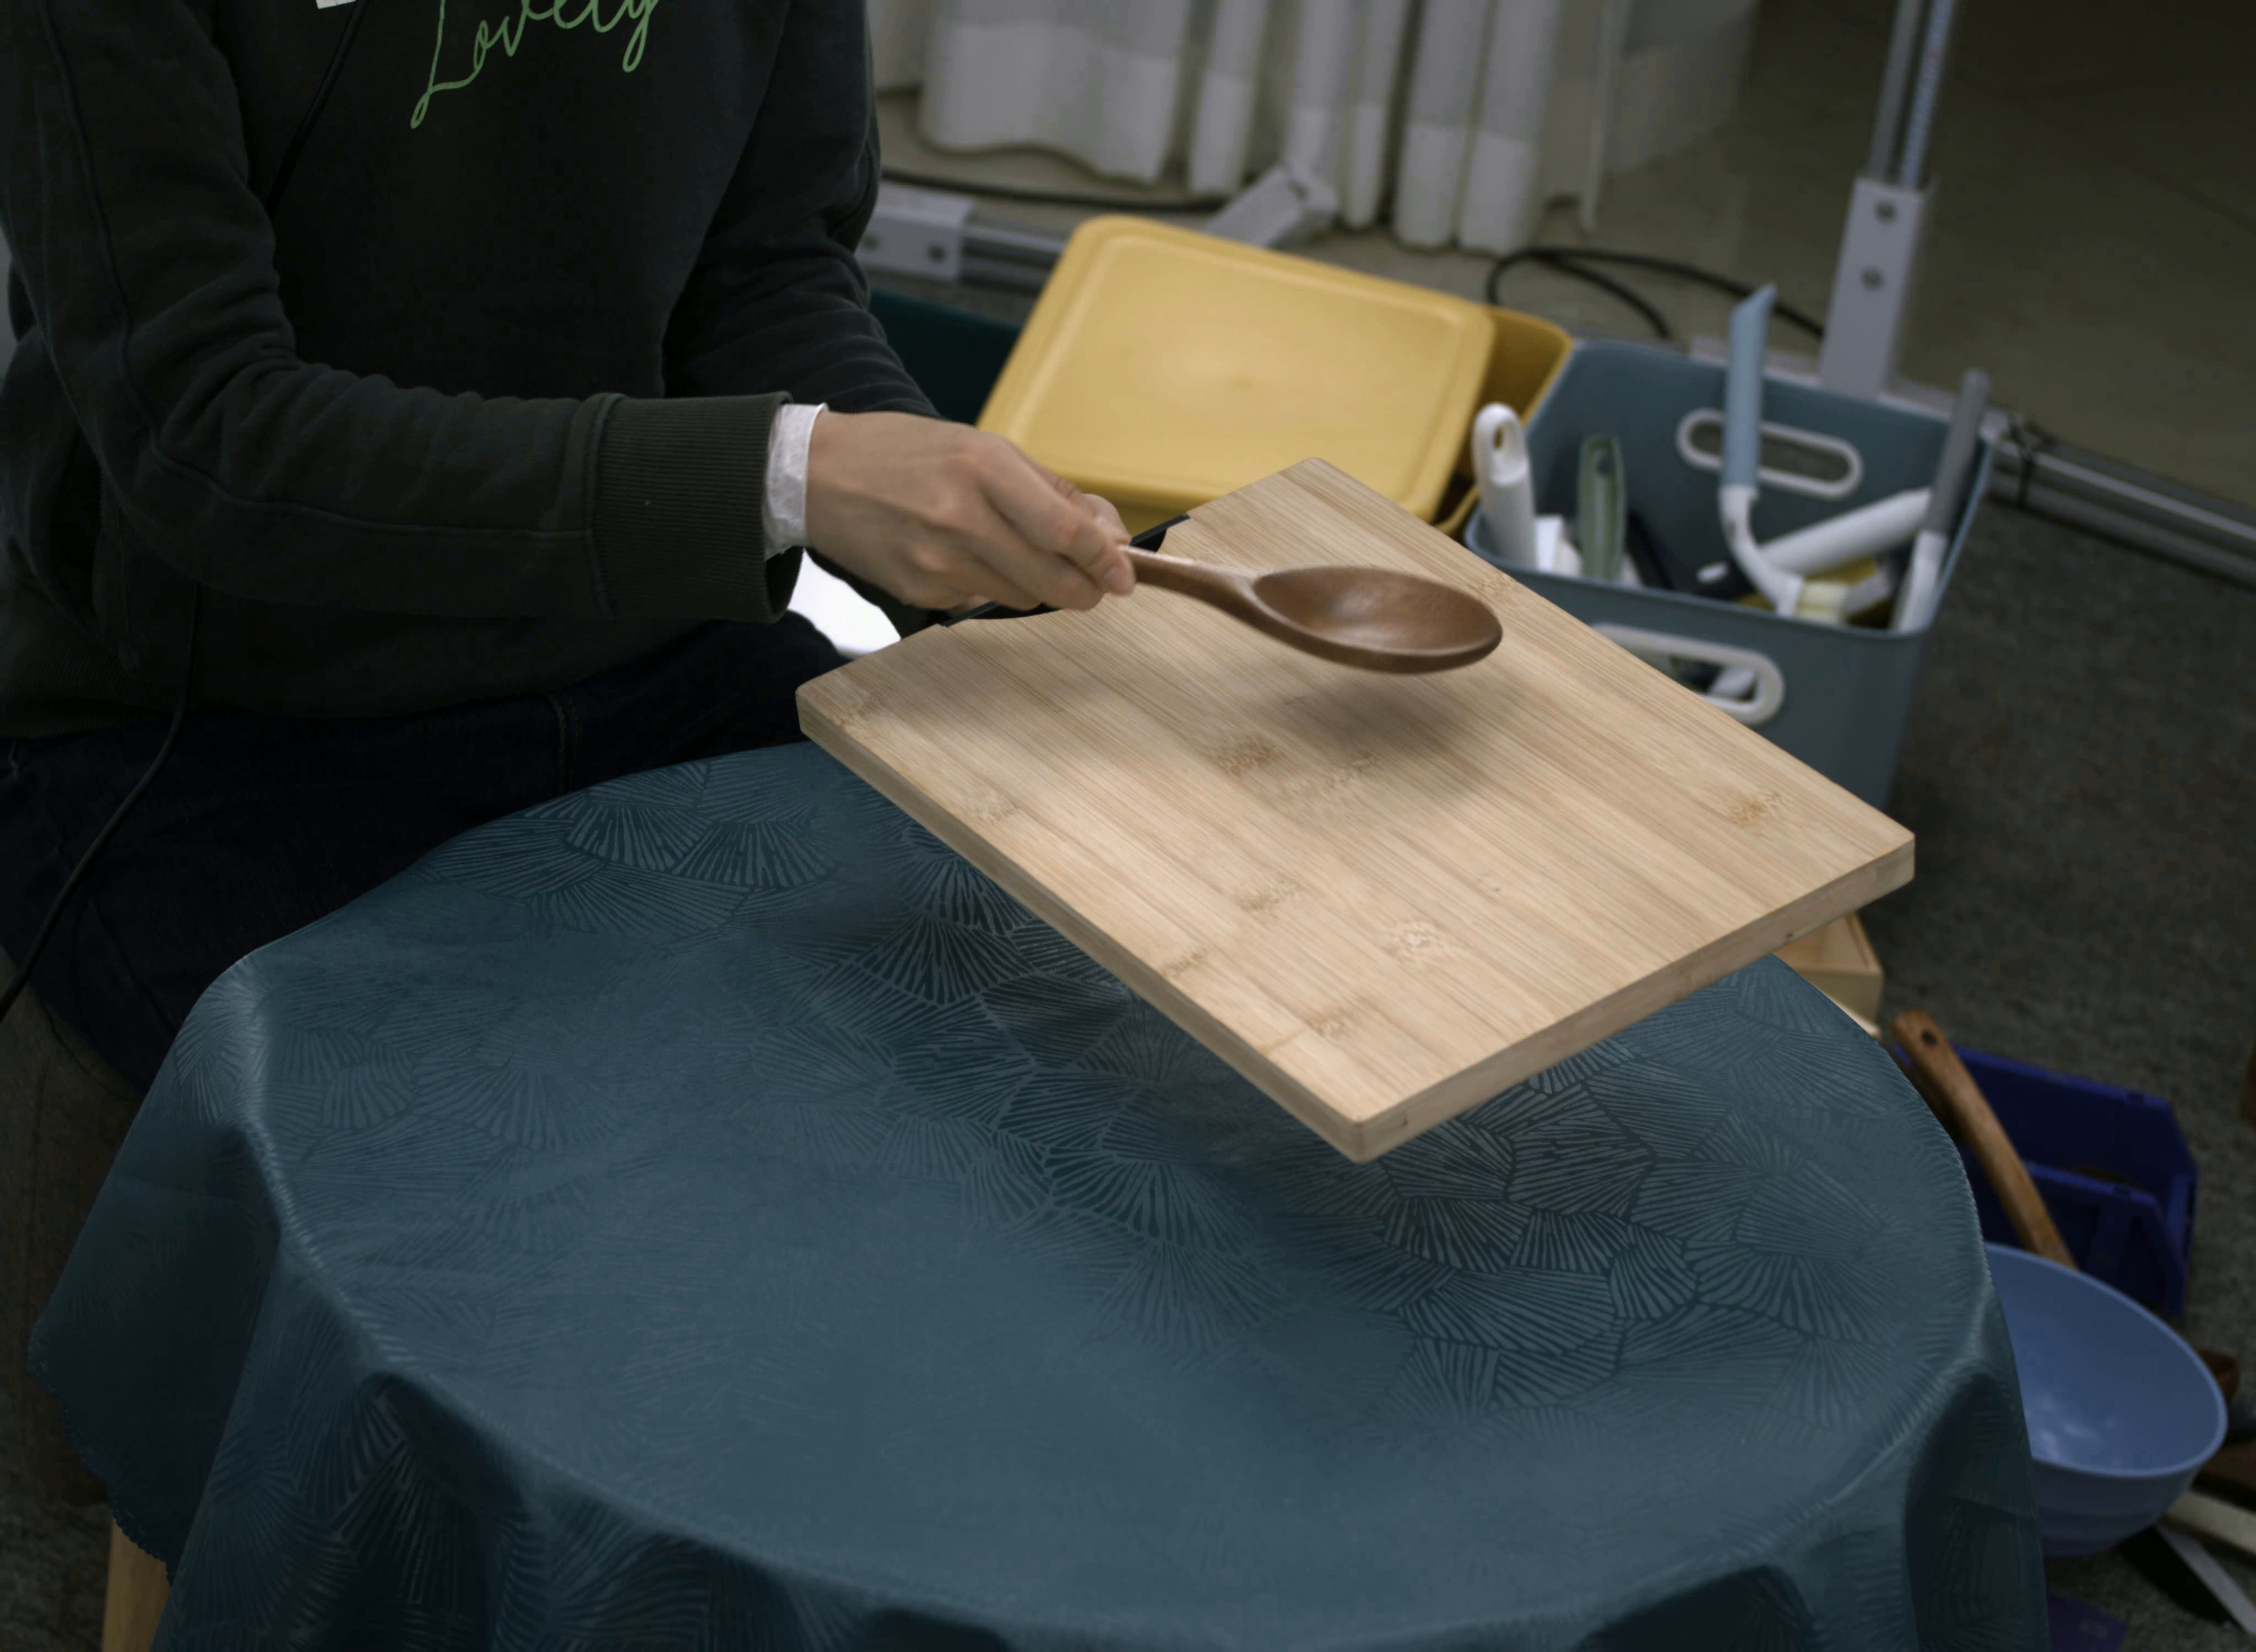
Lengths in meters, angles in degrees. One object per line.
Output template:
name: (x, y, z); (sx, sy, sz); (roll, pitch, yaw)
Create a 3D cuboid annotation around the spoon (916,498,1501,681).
spoon: (0.026, -0.084, 1.877); (0.216, 0.017, 0.075); (15, 28, 15)

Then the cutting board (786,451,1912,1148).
cutting board: (0.070, -0.018, 1.869); (0.250, 0.023, 0.352); (-25, 38, -27)
